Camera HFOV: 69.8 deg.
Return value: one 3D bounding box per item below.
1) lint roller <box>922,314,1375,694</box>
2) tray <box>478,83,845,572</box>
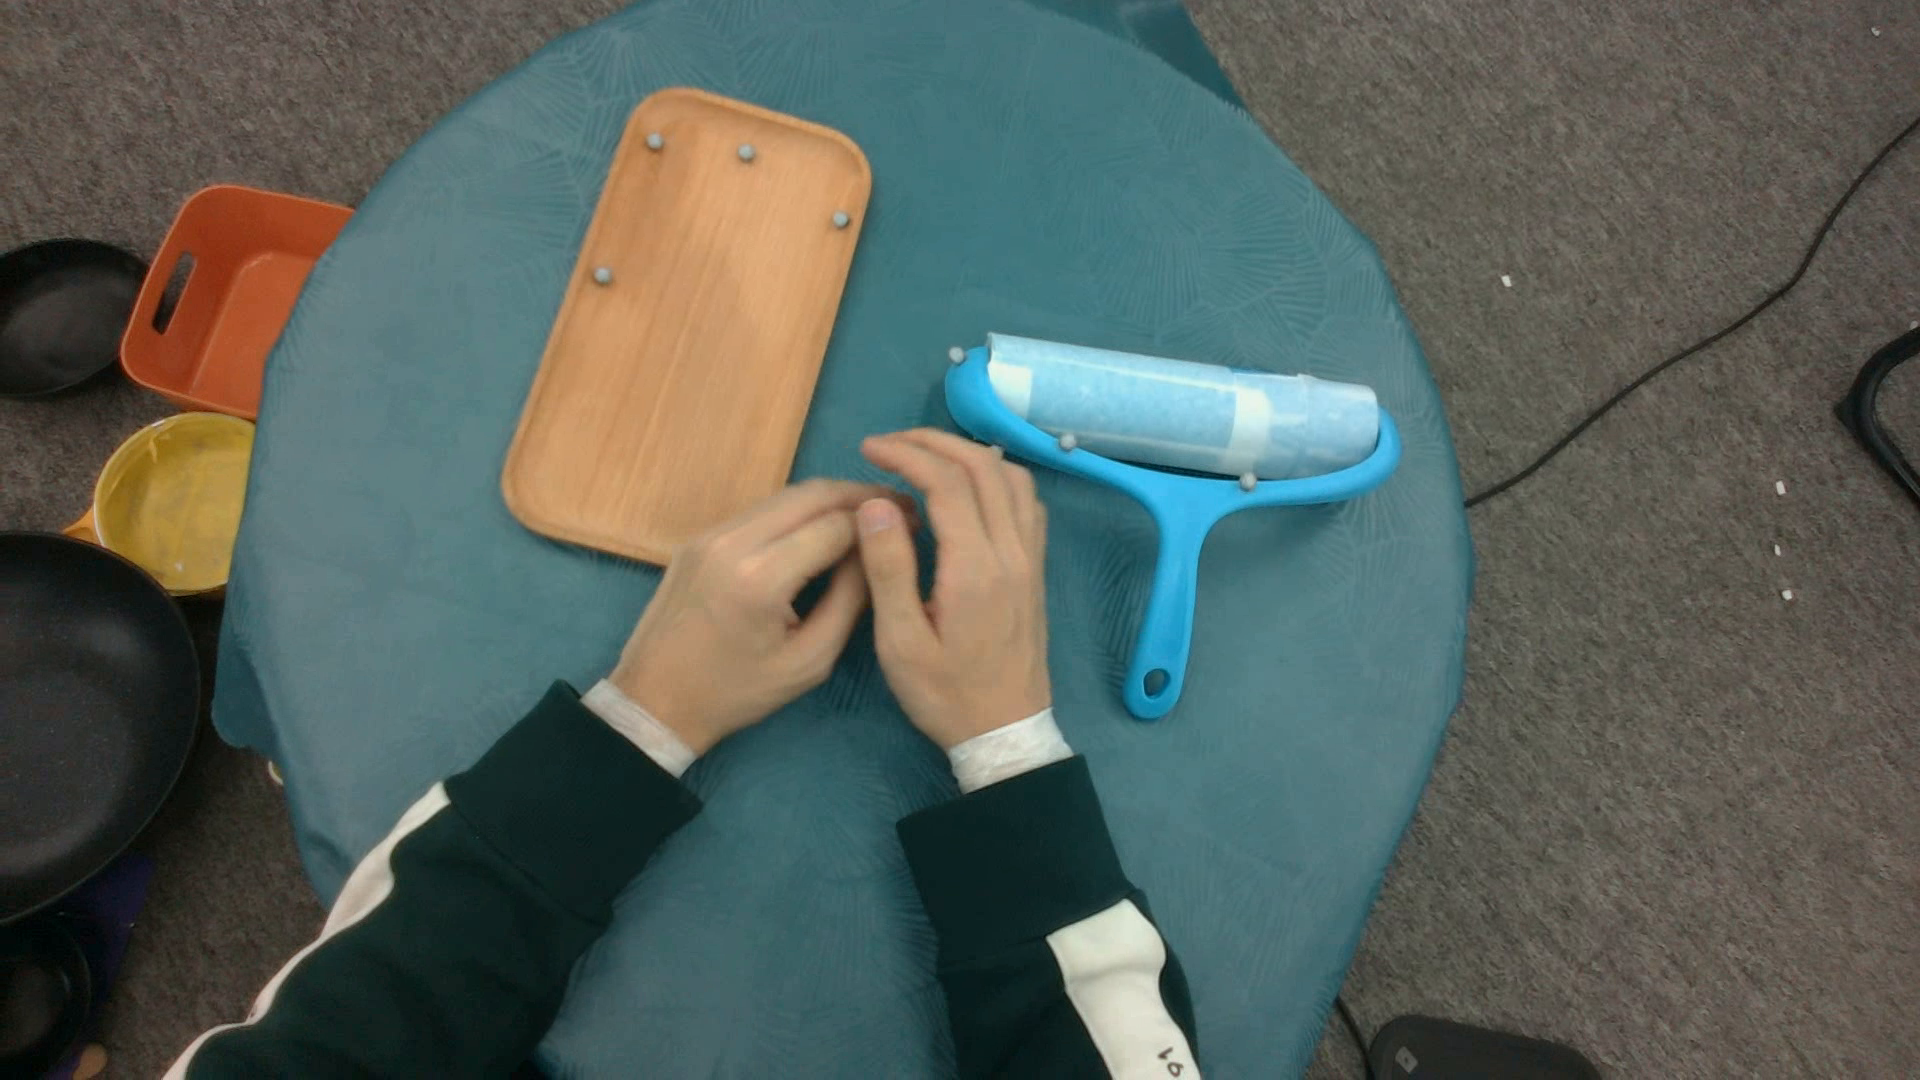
[{"bbox_3d":[0.094,-0.019,0.668,0.229,0.067,0.181,3,71,-9],"label":"lint roller"},{"bbox_3d":[-0.142,-0.109,0.680,0.130,0.023,0.251,13,72,-2],"label":"tray"}]
